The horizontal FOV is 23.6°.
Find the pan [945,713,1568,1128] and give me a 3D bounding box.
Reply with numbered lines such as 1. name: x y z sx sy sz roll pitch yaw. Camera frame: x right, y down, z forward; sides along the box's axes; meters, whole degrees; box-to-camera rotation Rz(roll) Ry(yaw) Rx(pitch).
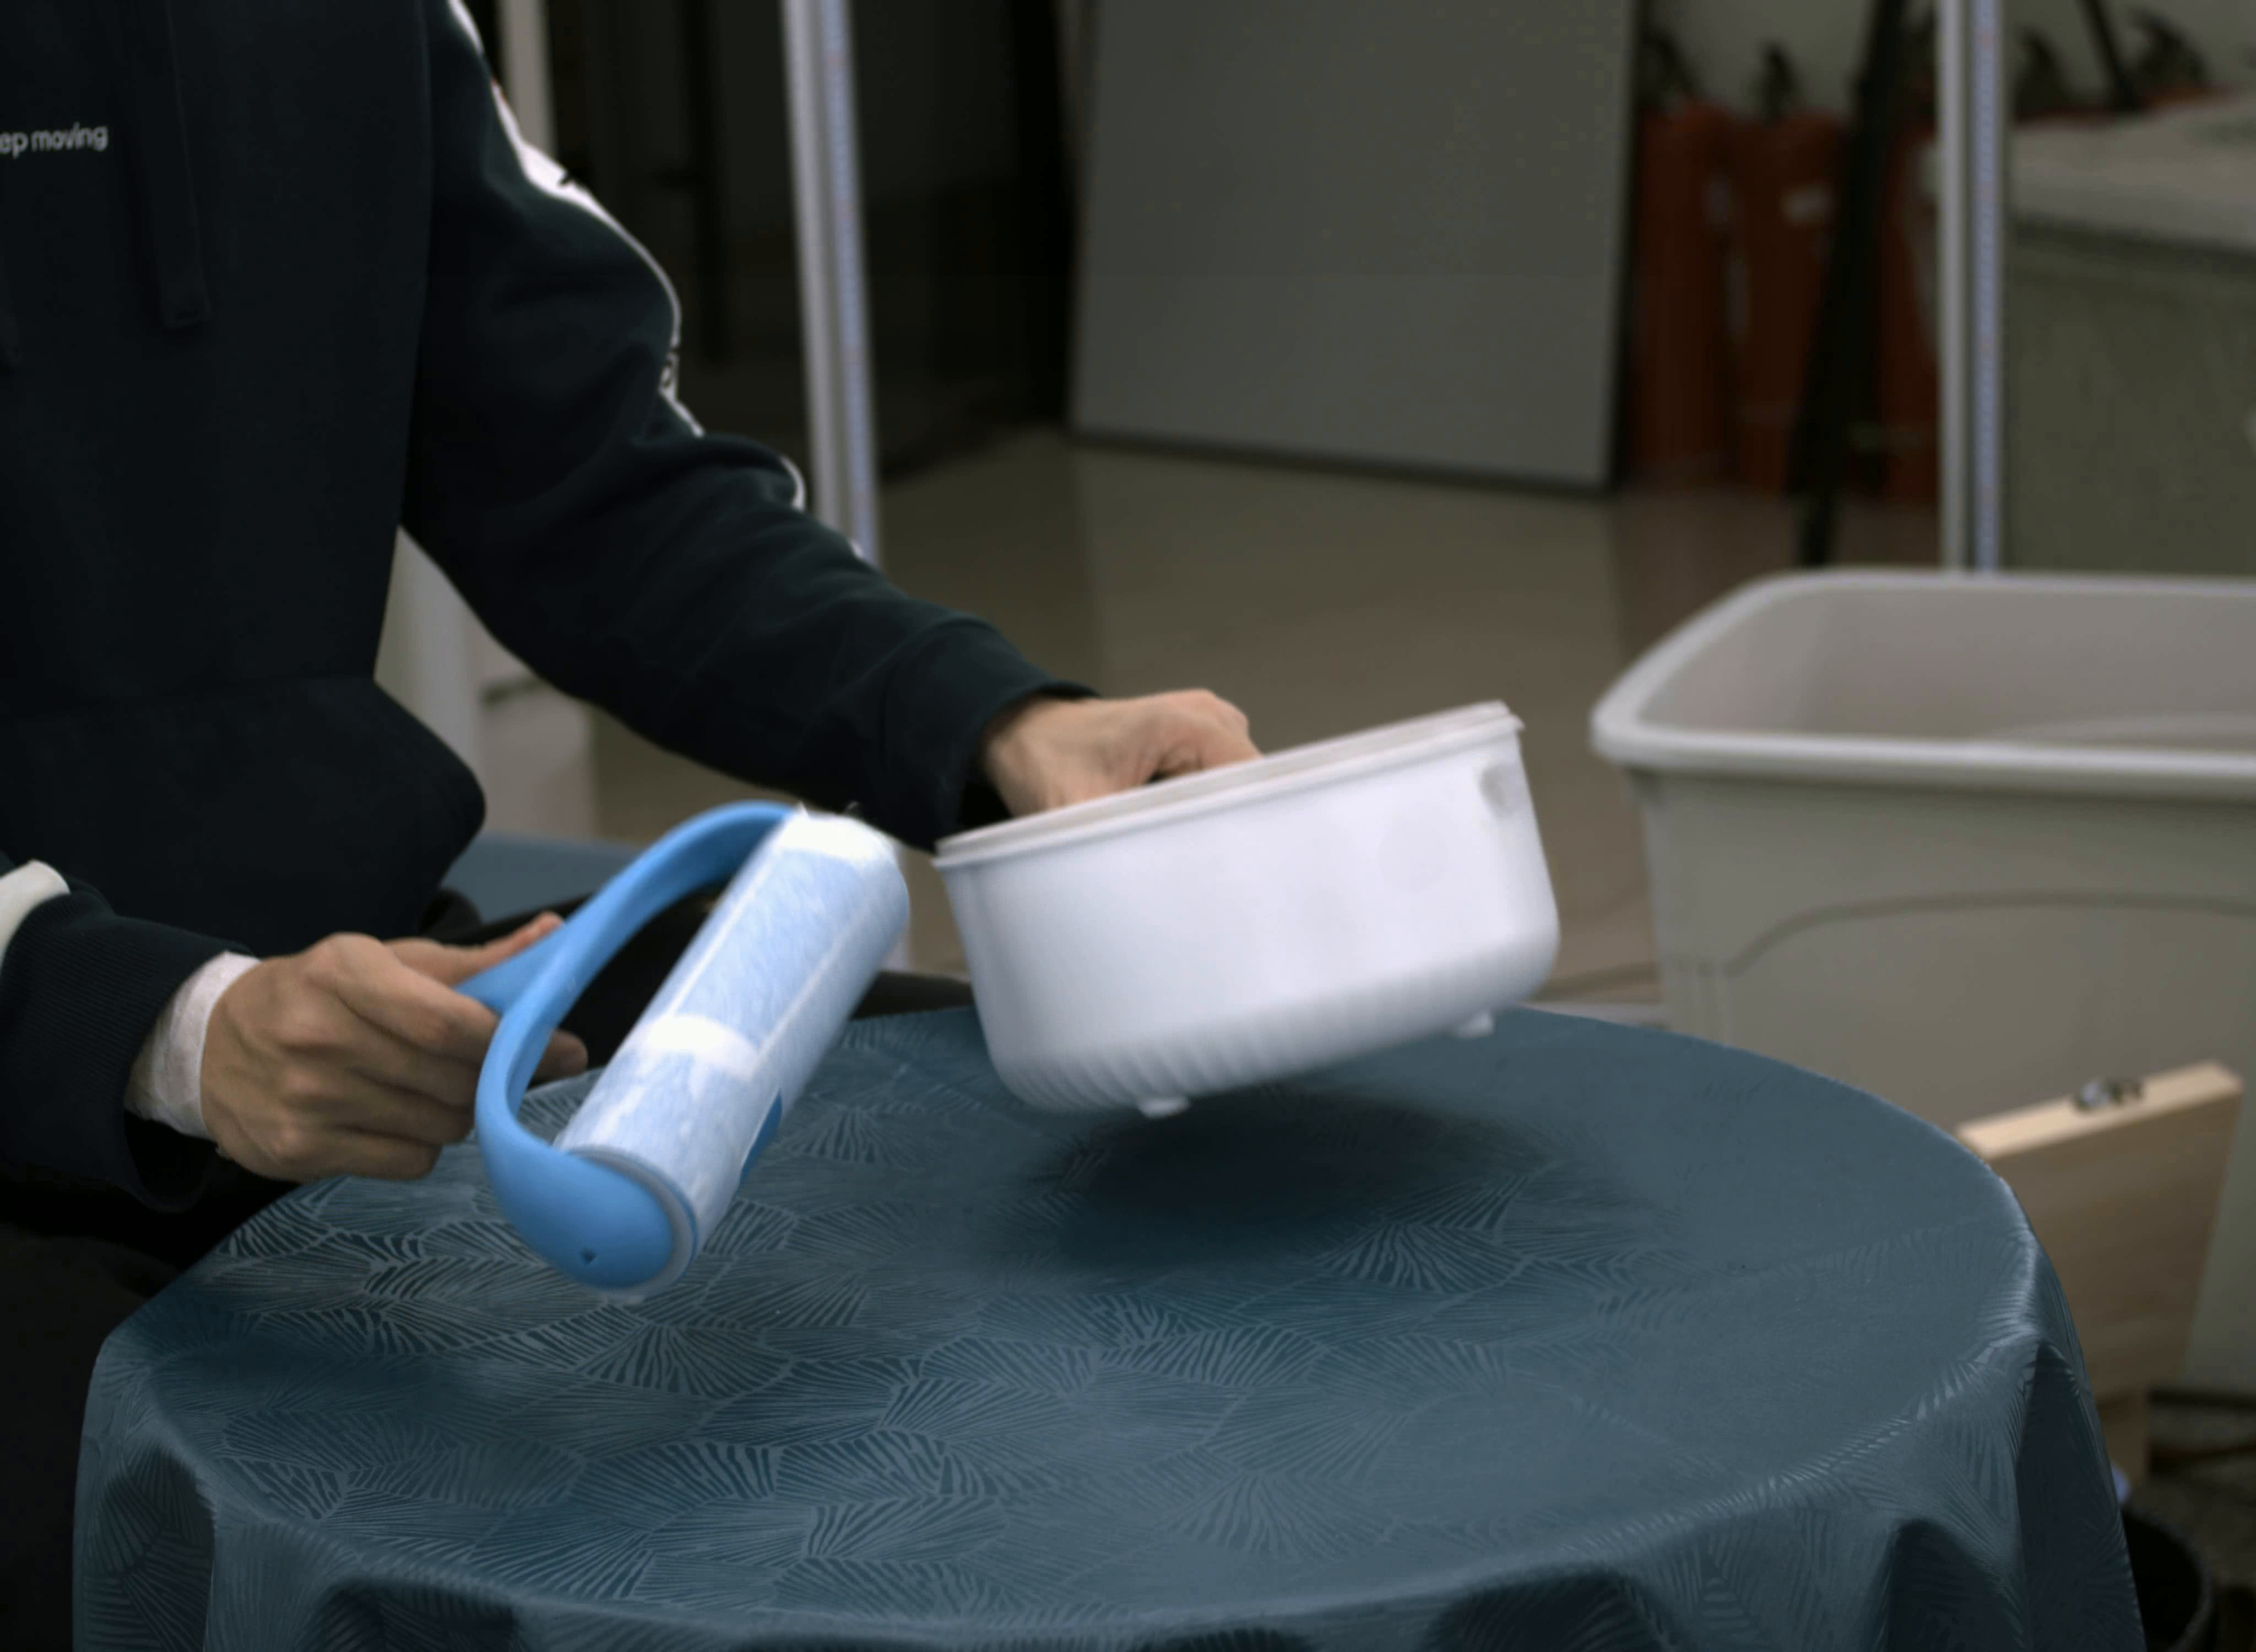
1. pan: 0.037 0.037 1.850 0.198 0.103 0.356 -14 0 -7

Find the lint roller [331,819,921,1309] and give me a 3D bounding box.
1. lint roller: -0.173 0.076 1.650 0.180 0.068 0.228 -7 27 22
